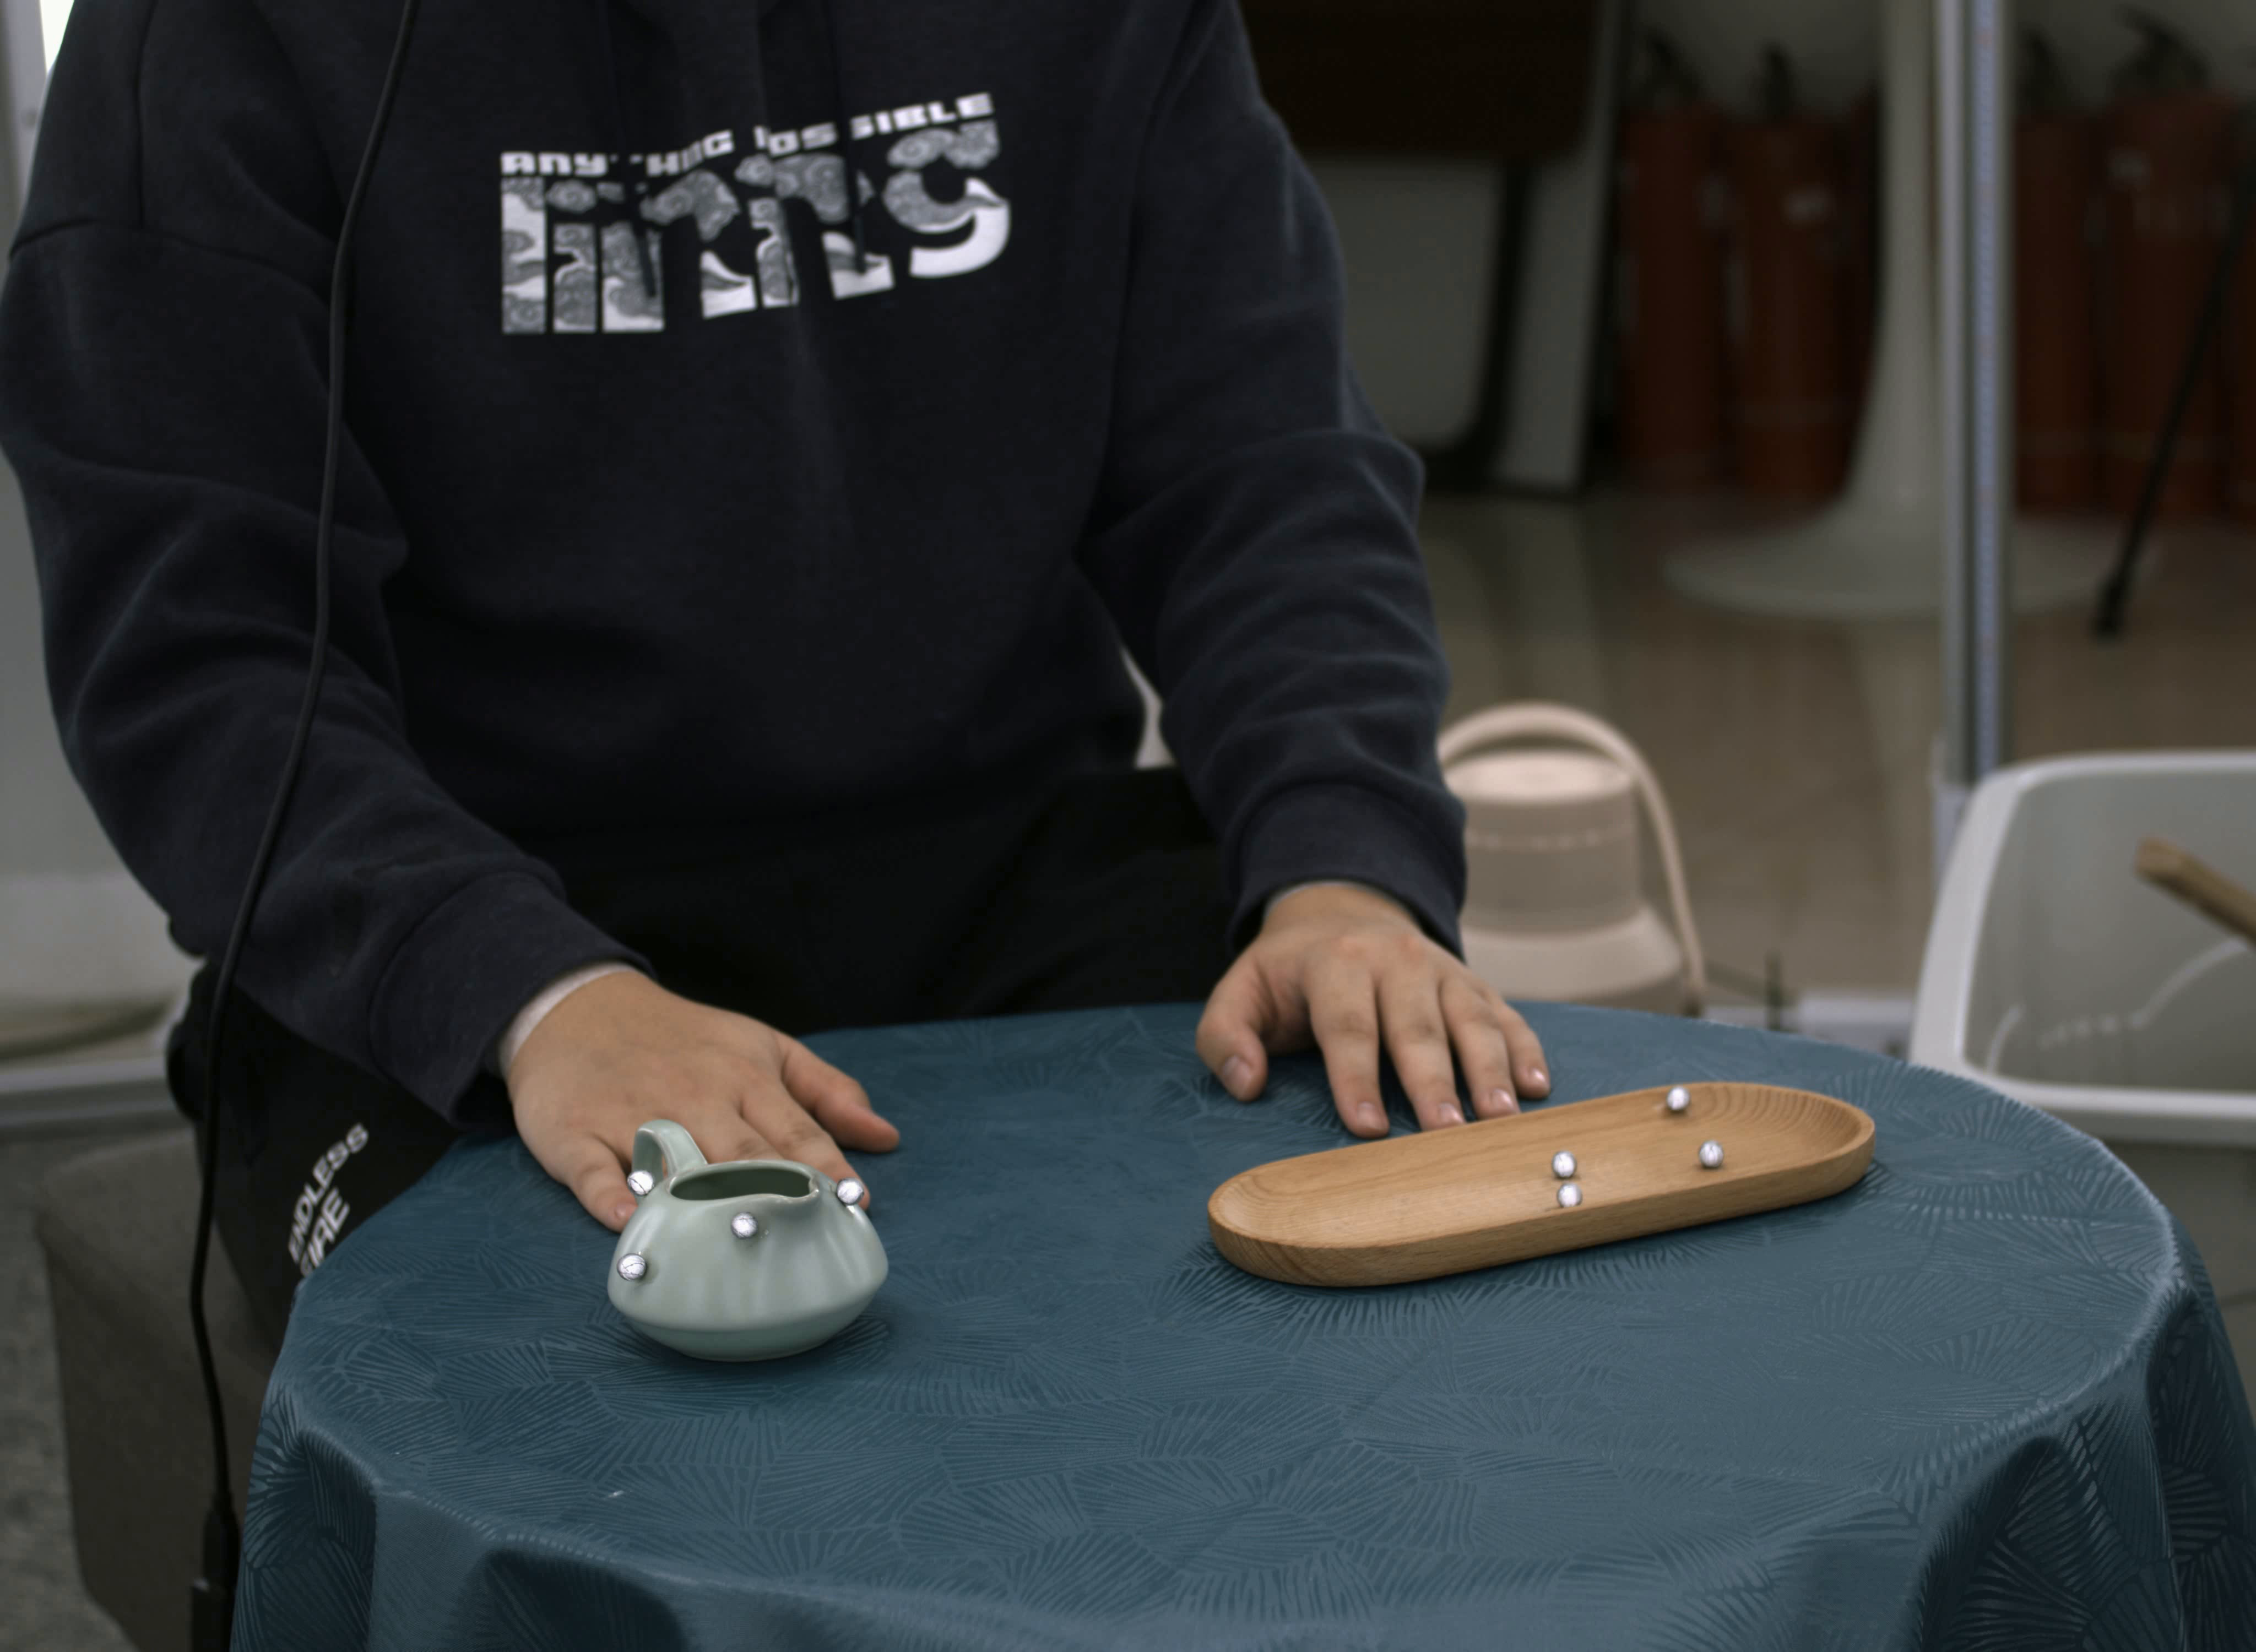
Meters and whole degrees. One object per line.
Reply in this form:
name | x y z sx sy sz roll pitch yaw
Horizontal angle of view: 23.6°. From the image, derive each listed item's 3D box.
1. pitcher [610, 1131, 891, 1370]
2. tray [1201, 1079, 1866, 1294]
pitcher | -0.122 0.130 1.657 0.084 0.061 0.109 -11 13 -32
tray | 0.132 0.115 1.728 0.226 0.020 0.102 -12 14 -22
